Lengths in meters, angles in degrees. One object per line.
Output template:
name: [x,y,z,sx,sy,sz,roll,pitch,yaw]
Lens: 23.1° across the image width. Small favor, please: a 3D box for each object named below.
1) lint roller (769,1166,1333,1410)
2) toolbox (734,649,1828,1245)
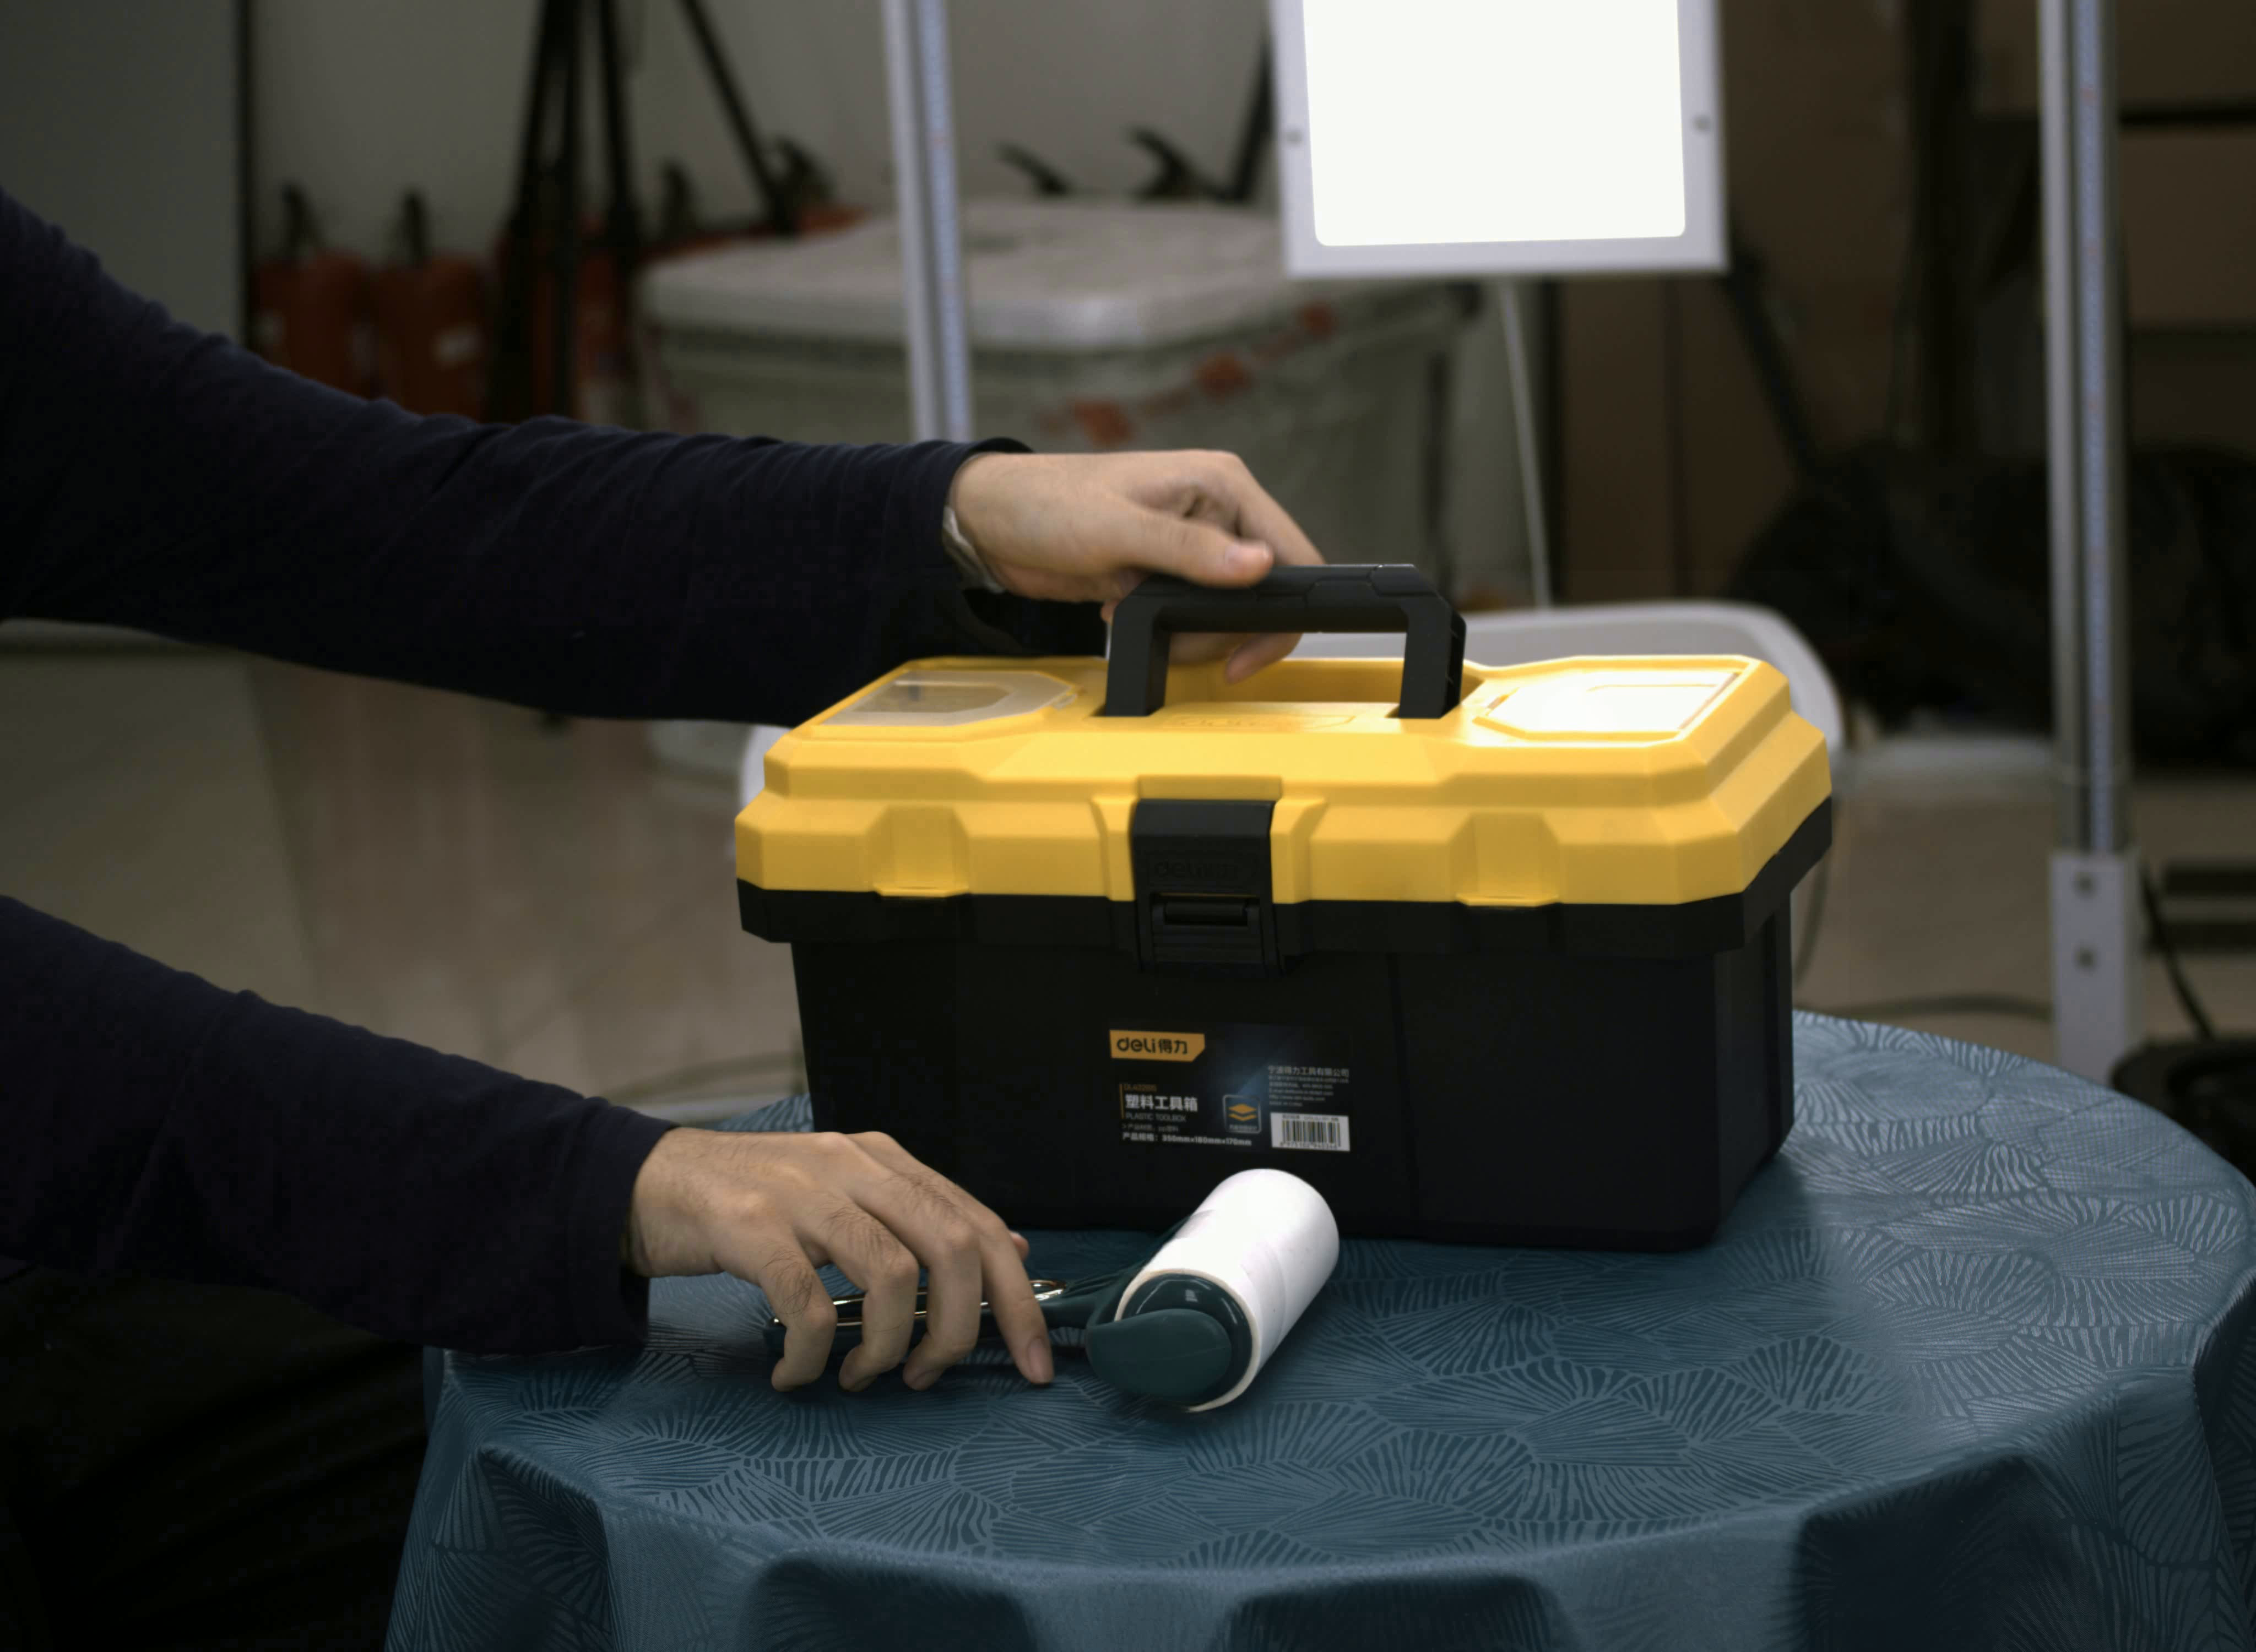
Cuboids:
lint roller: [-0.032,0.148,1.742,0.182,0.048,0.132,-5,14,19]
toolbox: [0.055,0.040,1.872,0.356,0.173,0.178,0,14,22]
